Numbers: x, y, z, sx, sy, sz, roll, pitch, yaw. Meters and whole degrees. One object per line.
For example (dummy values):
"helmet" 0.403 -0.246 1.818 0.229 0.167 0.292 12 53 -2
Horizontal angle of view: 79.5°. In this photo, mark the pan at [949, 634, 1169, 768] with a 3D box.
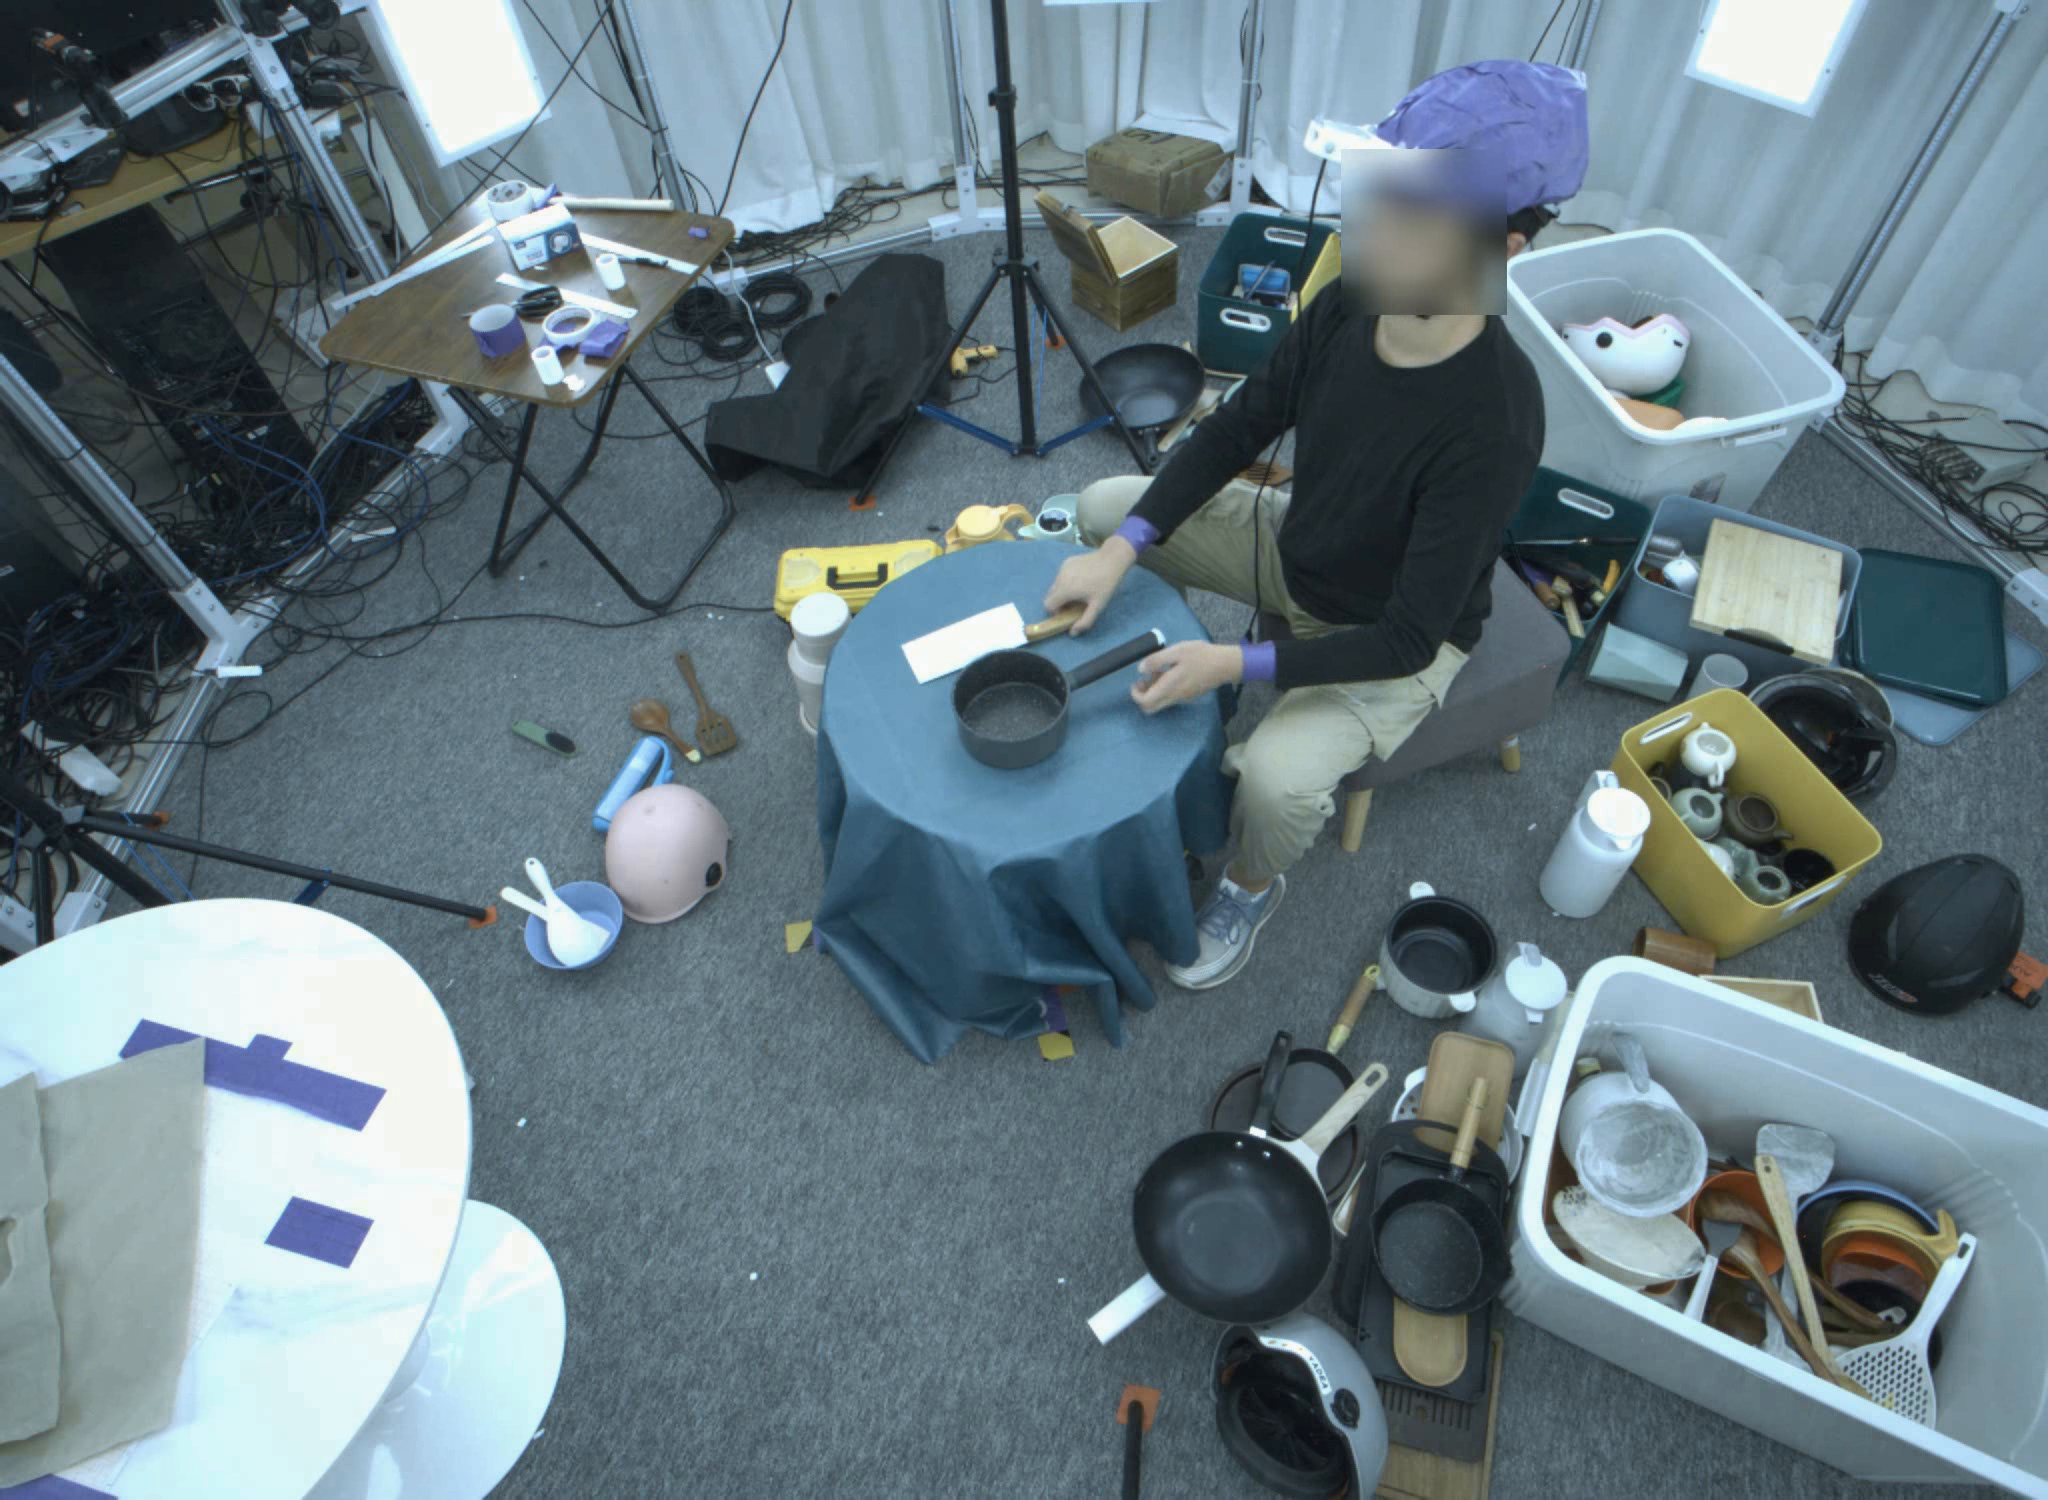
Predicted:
"pan" 0.055 -0.086 1.793 0.331 0.087 0.169 -19 56 -11

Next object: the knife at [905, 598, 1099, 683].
"knife" -0.037 -0.187 1.908 0.307 0.021 0.091 -22 56 -10
